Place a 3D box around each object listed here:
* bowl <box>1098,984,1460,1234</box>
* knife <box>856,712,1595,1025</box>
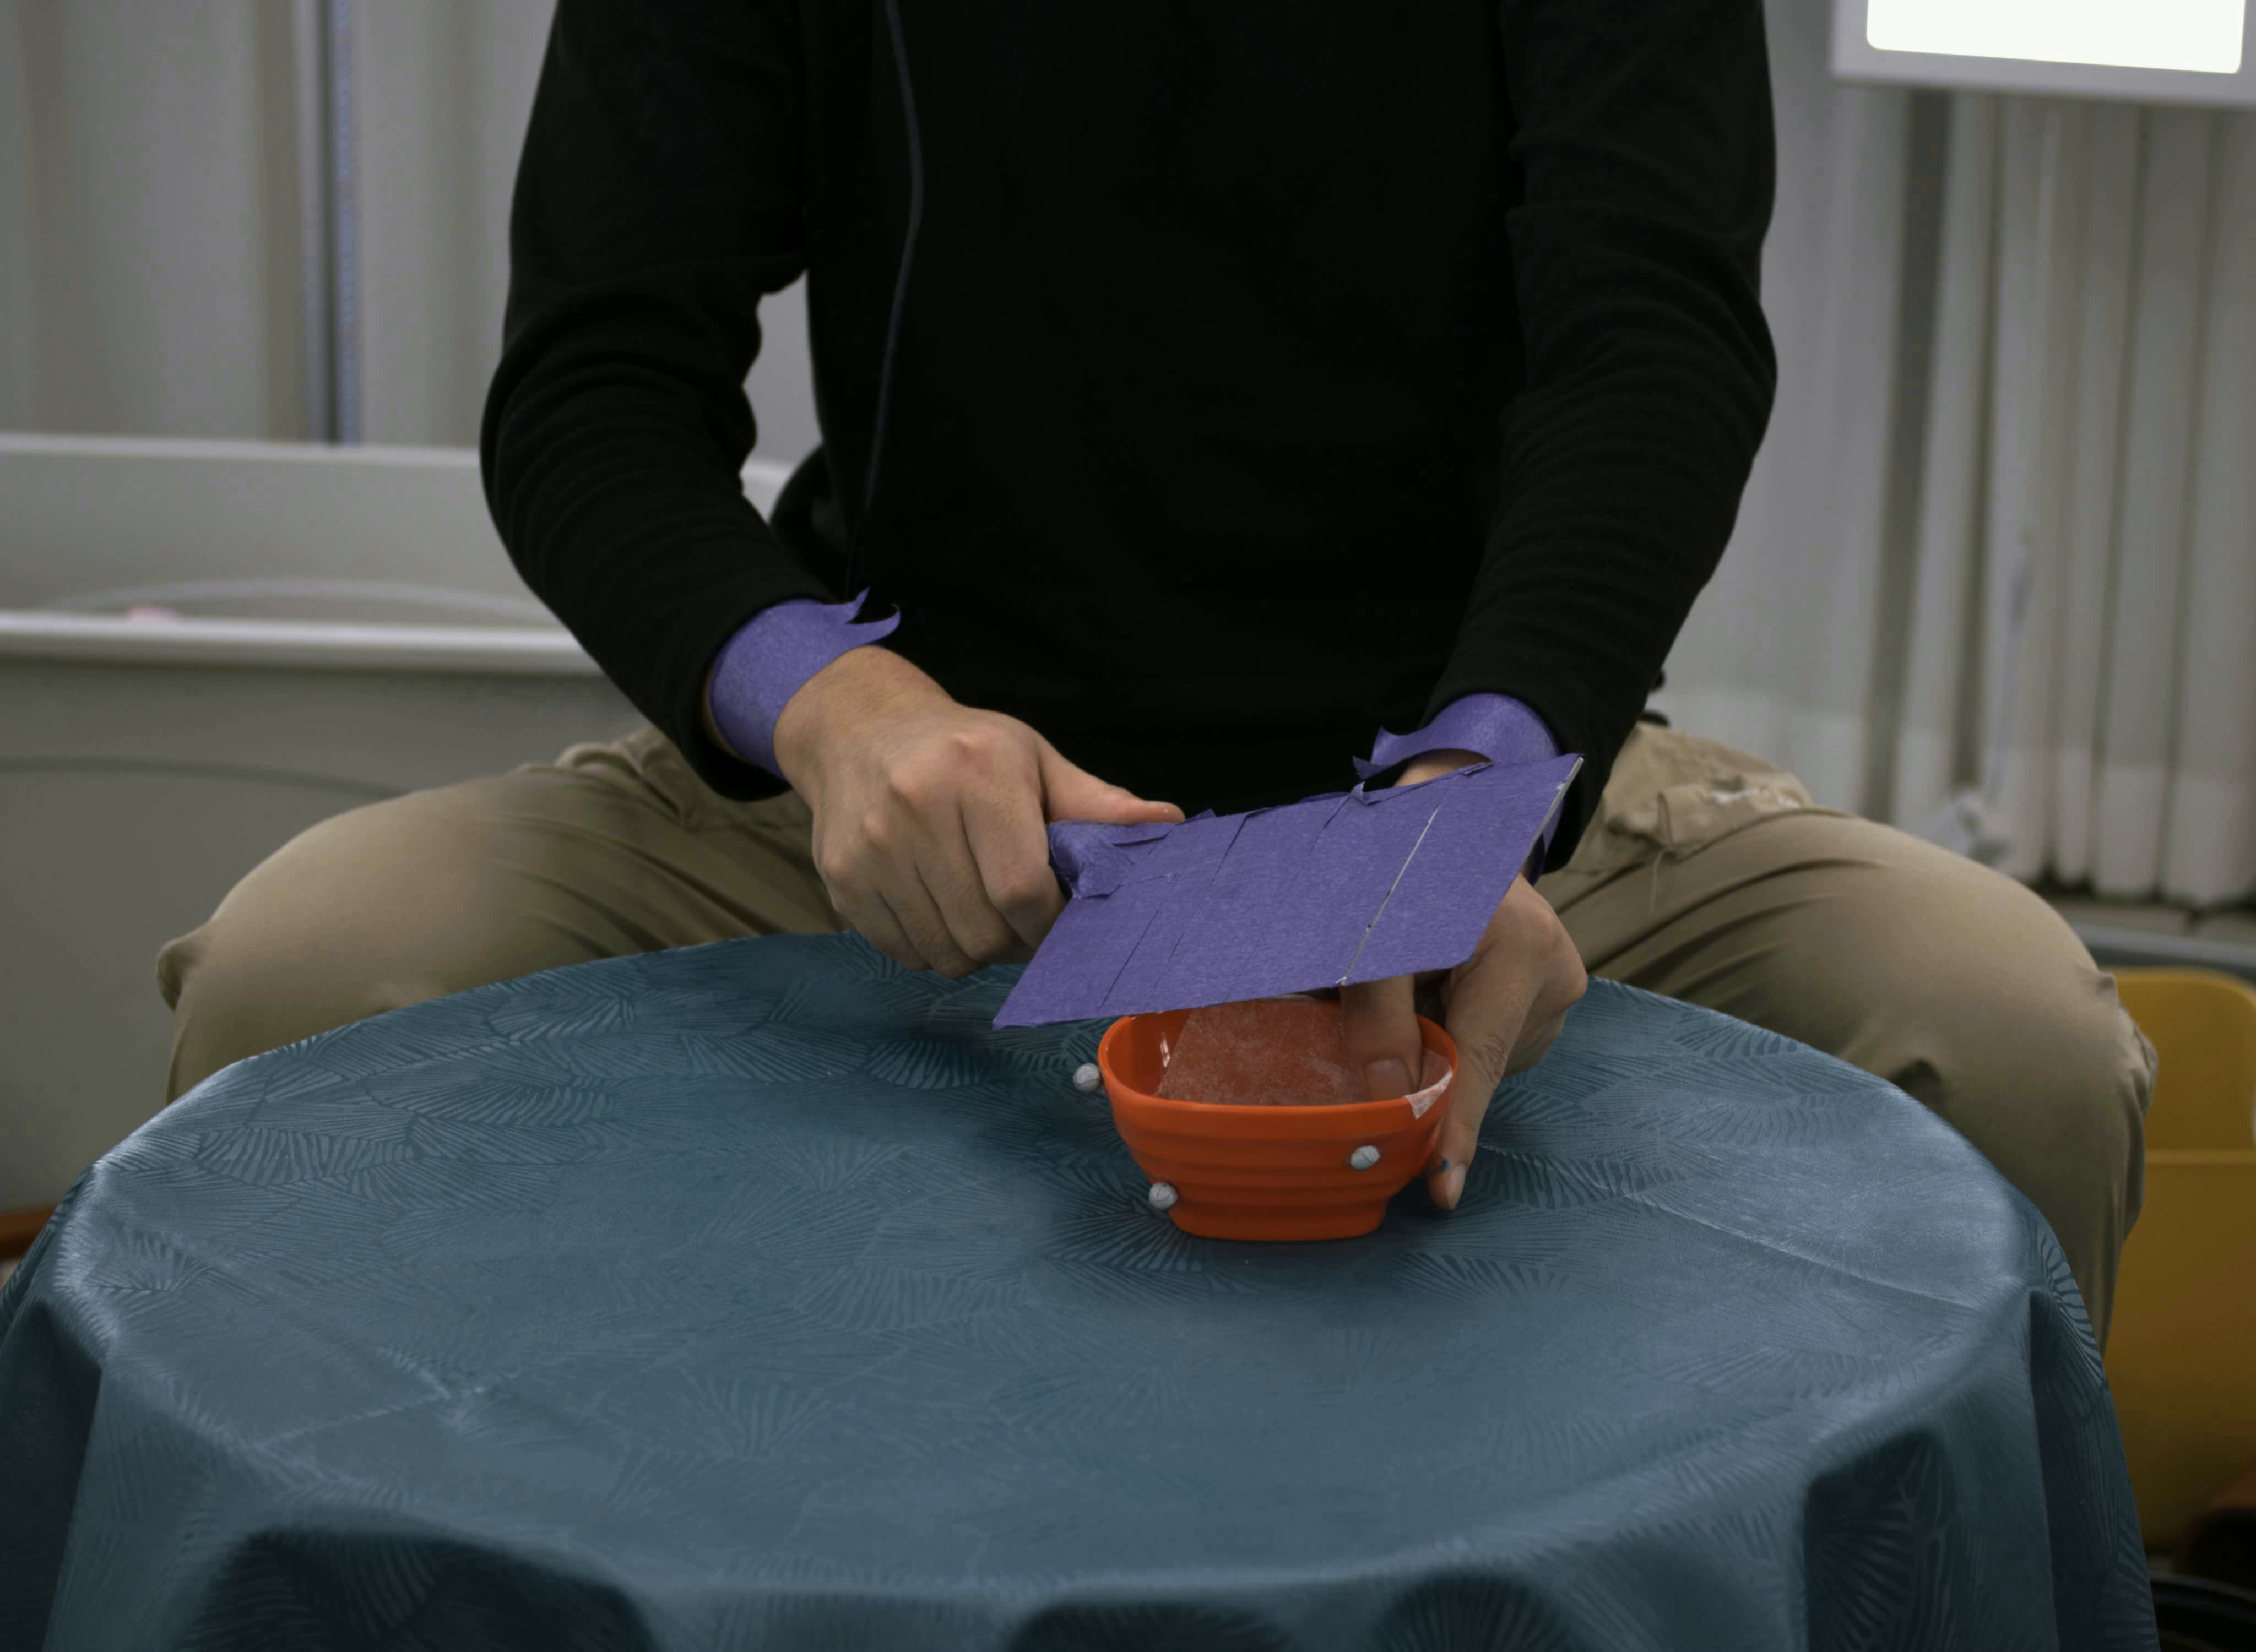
[{"bbox_3d":[0.046,0.089,1.603,0.118,0.052,0.118,0,17,0],"label":"bowl"},{"bbox_3d":[0.011,0.022,1.664,0.312,0.032,0.103,-13,35,45],"label":"knife"}]
